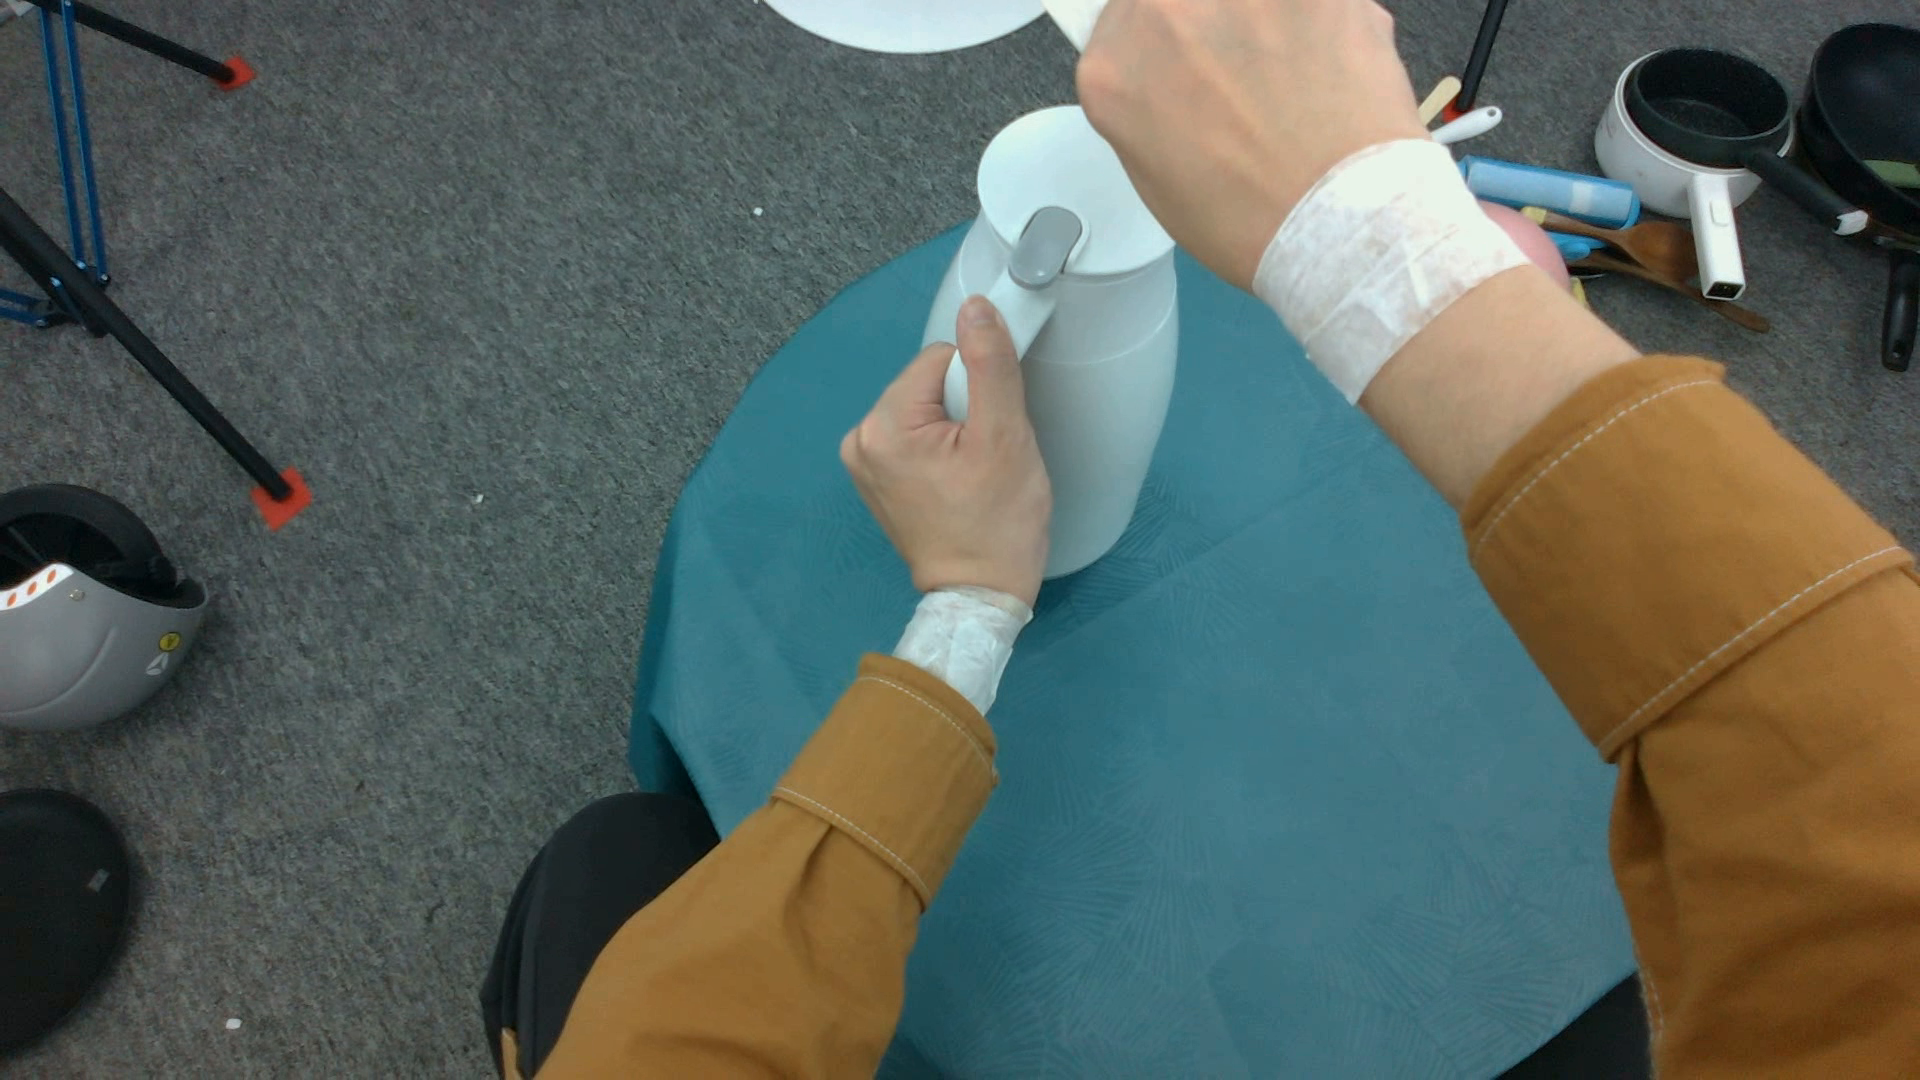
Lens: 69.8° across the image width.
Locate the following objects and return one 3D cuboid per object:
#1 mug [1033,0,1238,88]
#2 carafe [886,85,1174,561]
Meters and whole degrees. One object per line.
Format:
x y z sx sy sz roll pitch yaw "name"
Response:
0.074 -0.212 0.463 0.085 0.101 0.119 34 36 -30 "mug"
0.026 -0.088 0.669 0.132 0.247 0.168 29 63 9 "carafe"
